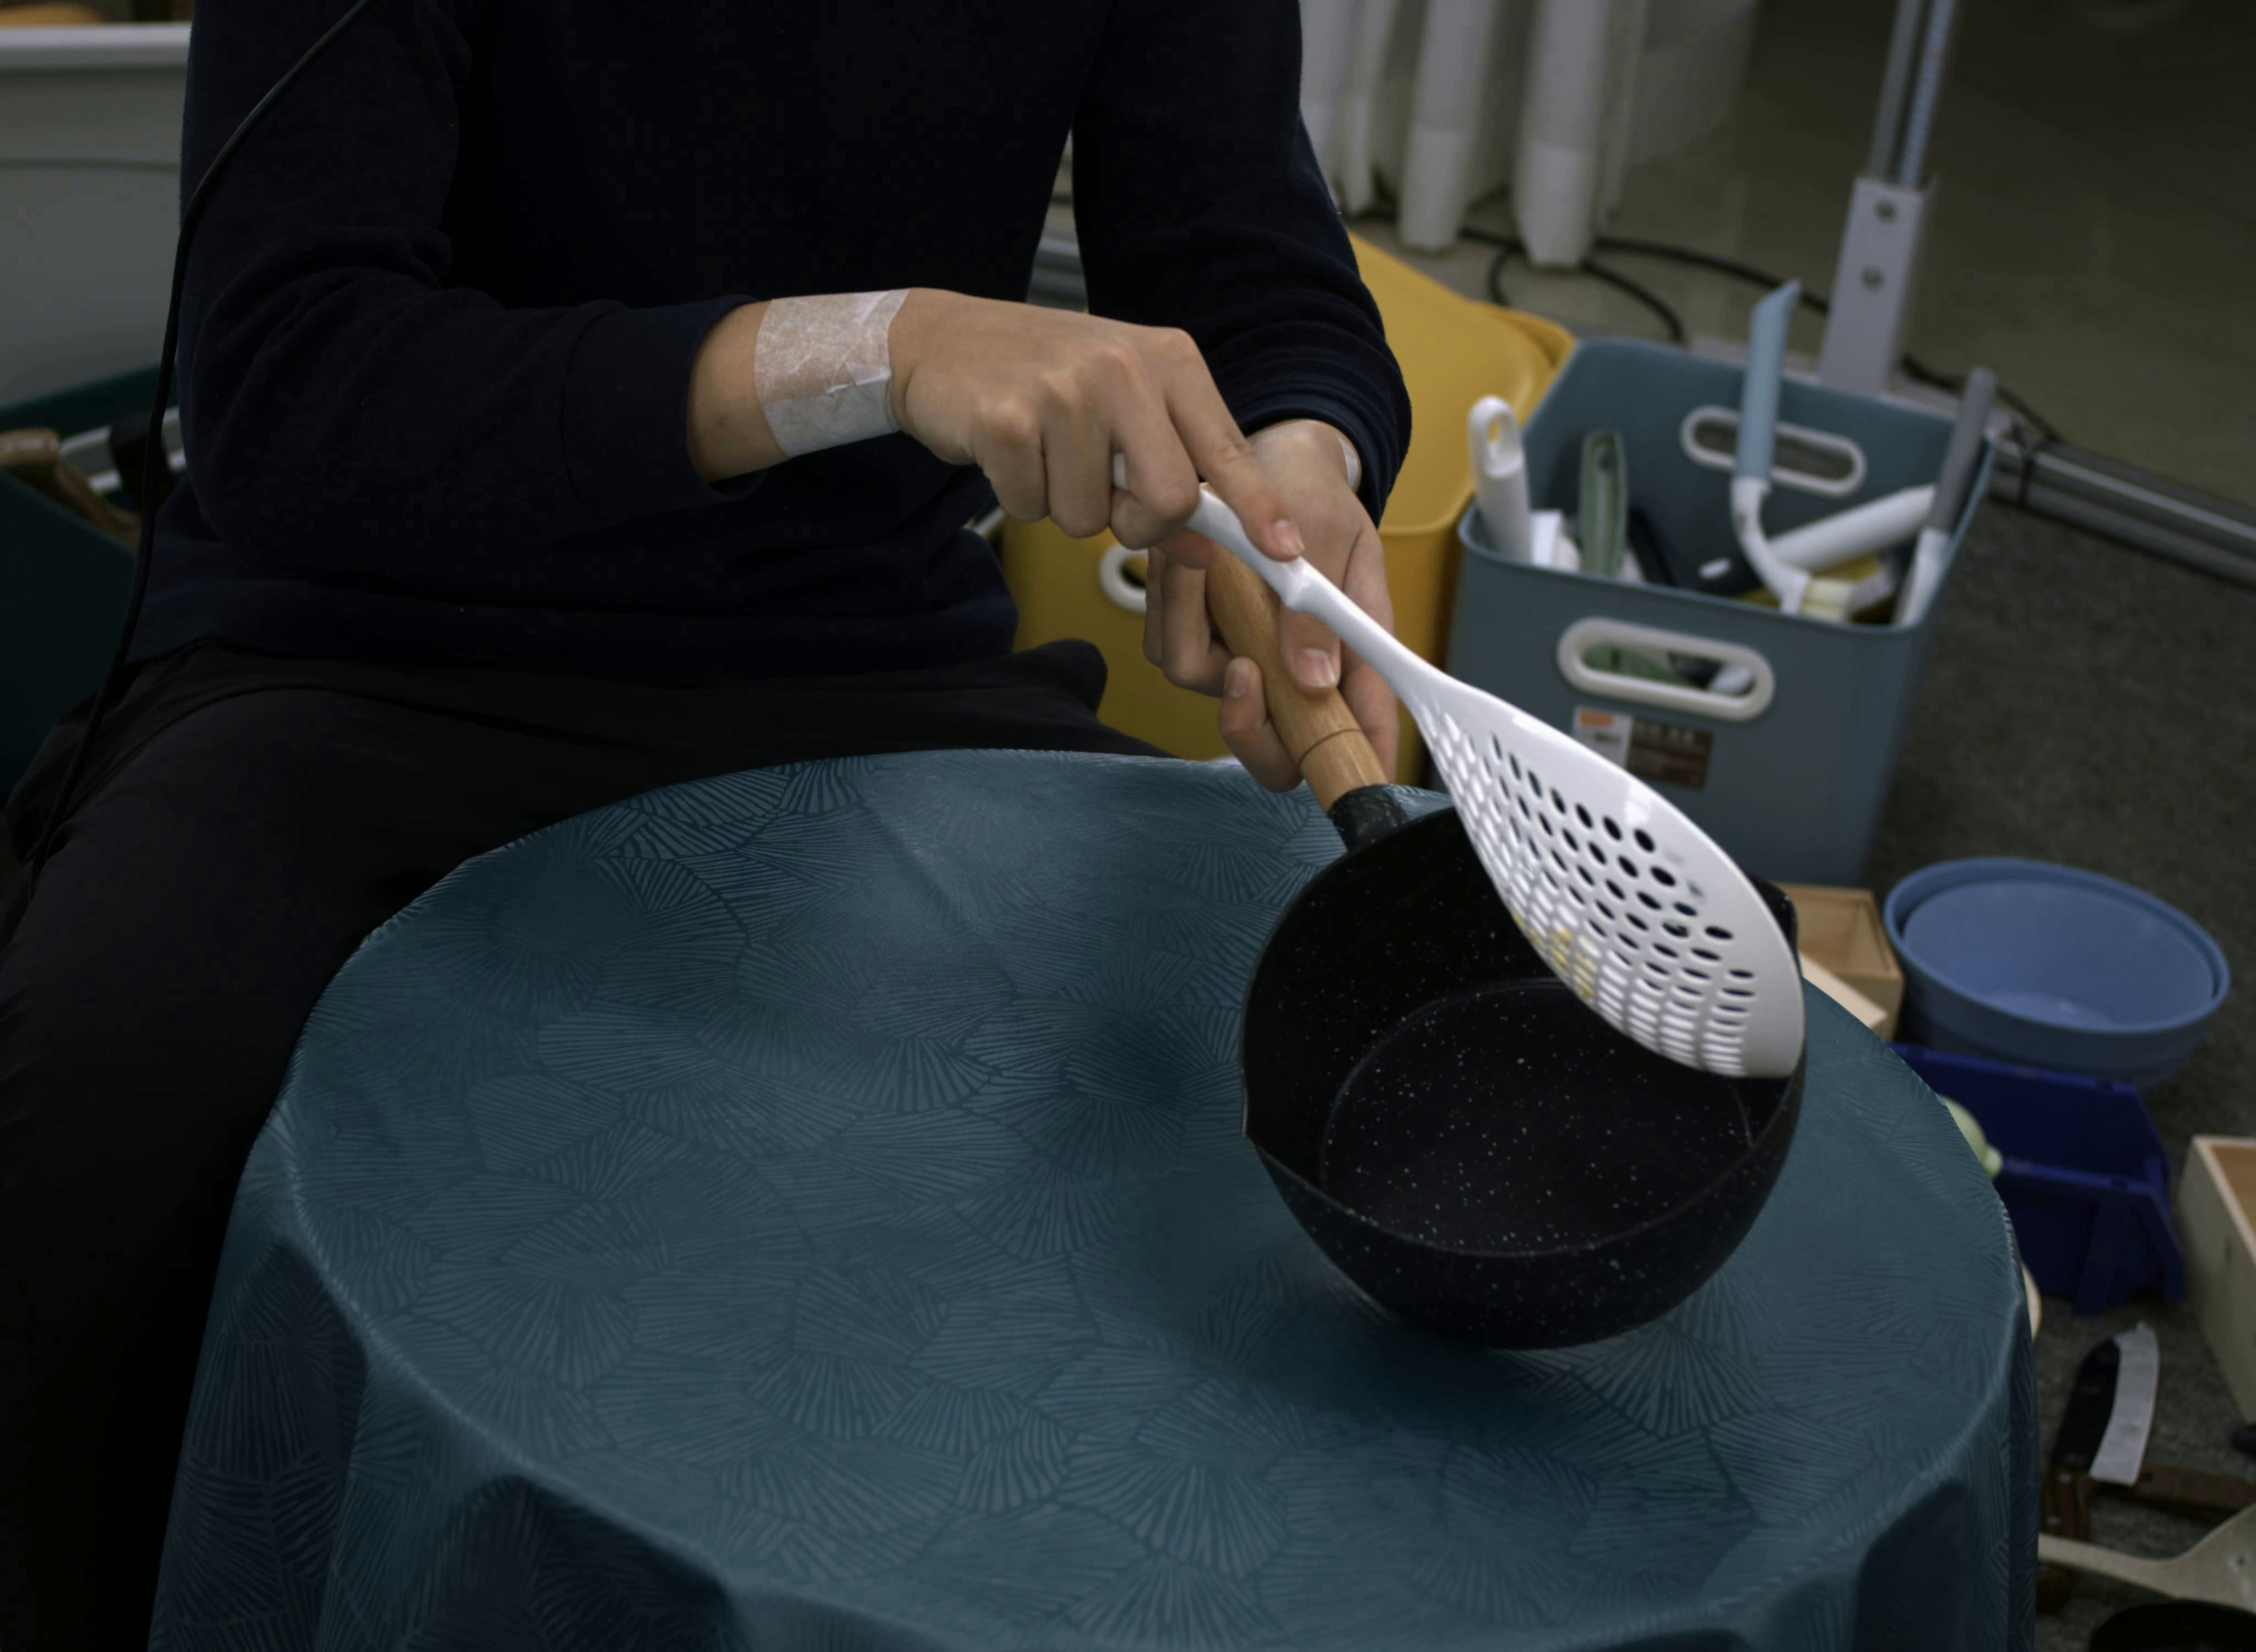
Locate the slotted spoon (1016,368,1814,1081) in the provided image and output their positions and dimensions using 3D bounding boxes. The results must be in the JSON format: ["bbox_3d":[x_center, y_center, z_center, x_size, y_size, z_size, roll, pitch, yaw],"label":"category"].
[{"bbox_3d":[0.089,-0.039,1.726,0.050,0.136,0.350,-36,66,-14],"label":"slotted spoon"}]

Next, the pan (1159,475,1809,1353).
[{"bbox_3d":[0.095,0.027,1.788,0.207,0.107,0.346,-26,53,-10],"label":"pan"}]
